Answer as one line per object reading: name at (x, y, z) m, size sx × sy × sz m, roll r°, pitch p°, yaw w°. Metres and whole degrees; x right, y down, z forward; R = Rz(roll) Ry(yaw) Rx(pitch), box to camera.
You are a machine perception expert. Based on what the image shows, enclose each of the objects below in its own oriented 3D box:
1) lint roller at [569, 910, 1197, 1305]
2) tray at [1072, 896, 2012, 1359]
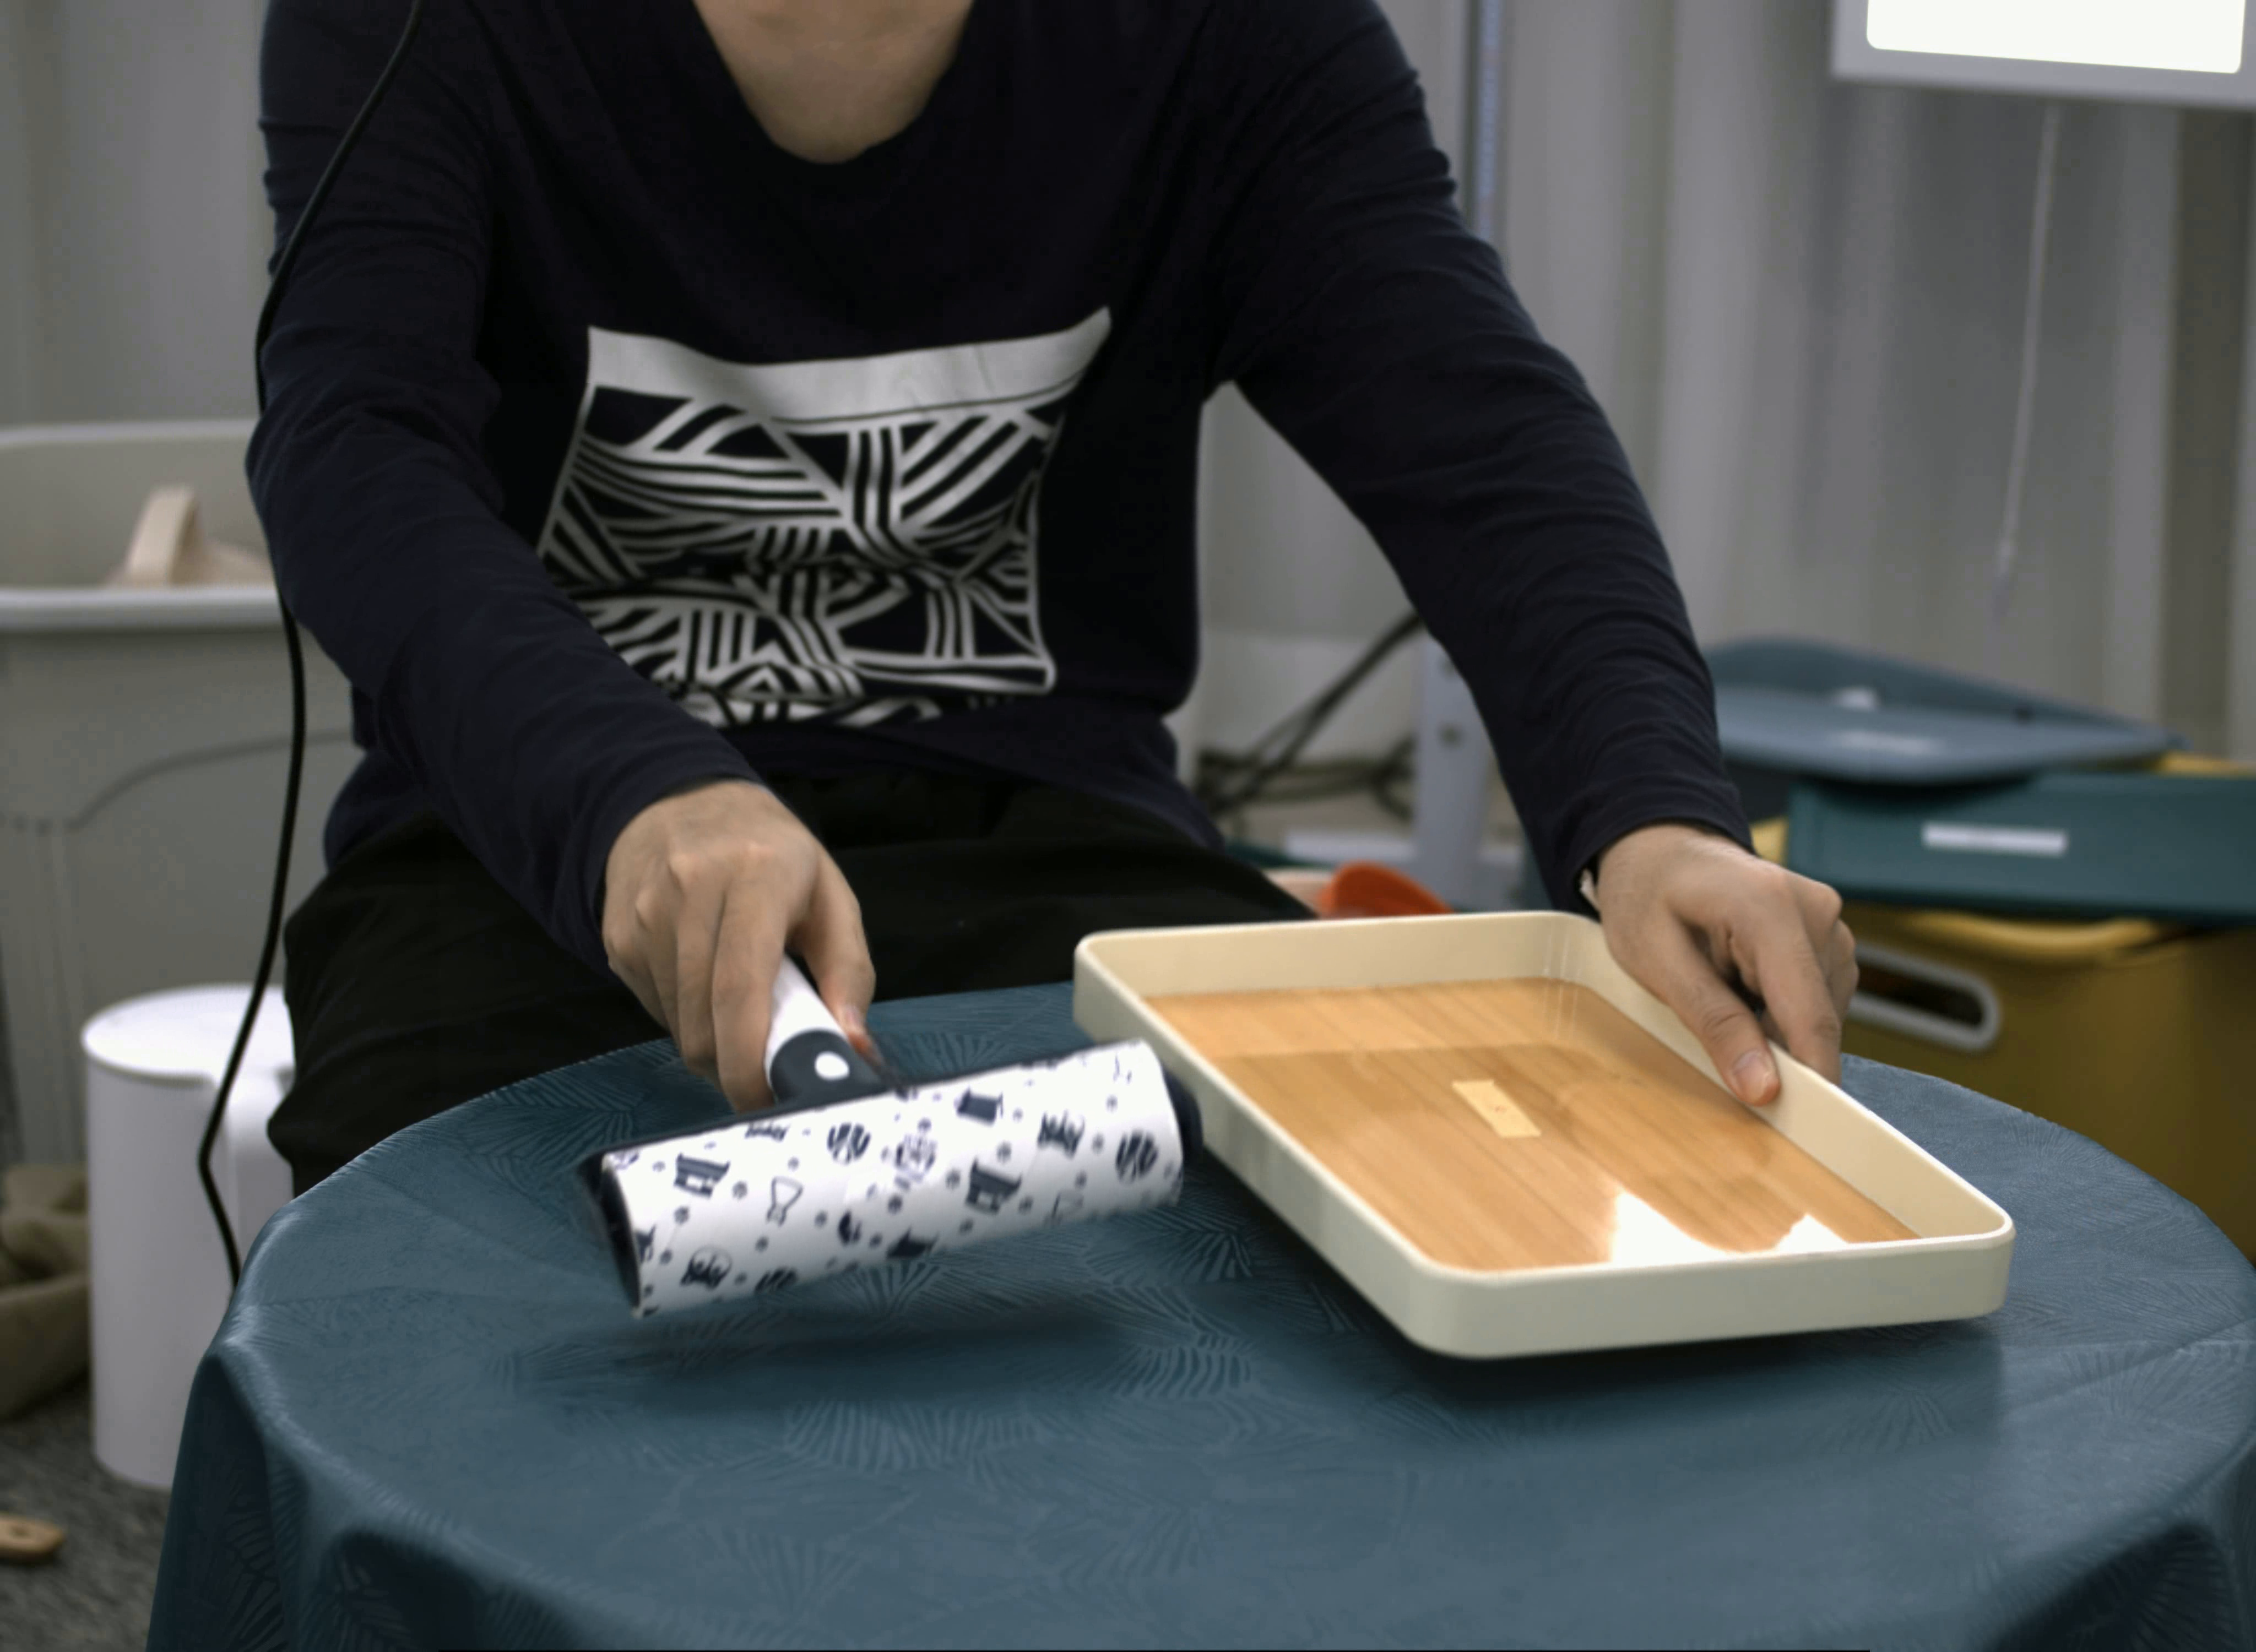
lint roller at (-0.100, 0.065, 1.580) m, size 0.176 × 0.051 × 0.244 m, roll -13°, pitch 22°, yaw -15°
tray at (0.117, 0.085, 1.600) m, size 0.192 × 0.027 × 0.296 m, roll -3°, pitch 19°, yaw -21°
